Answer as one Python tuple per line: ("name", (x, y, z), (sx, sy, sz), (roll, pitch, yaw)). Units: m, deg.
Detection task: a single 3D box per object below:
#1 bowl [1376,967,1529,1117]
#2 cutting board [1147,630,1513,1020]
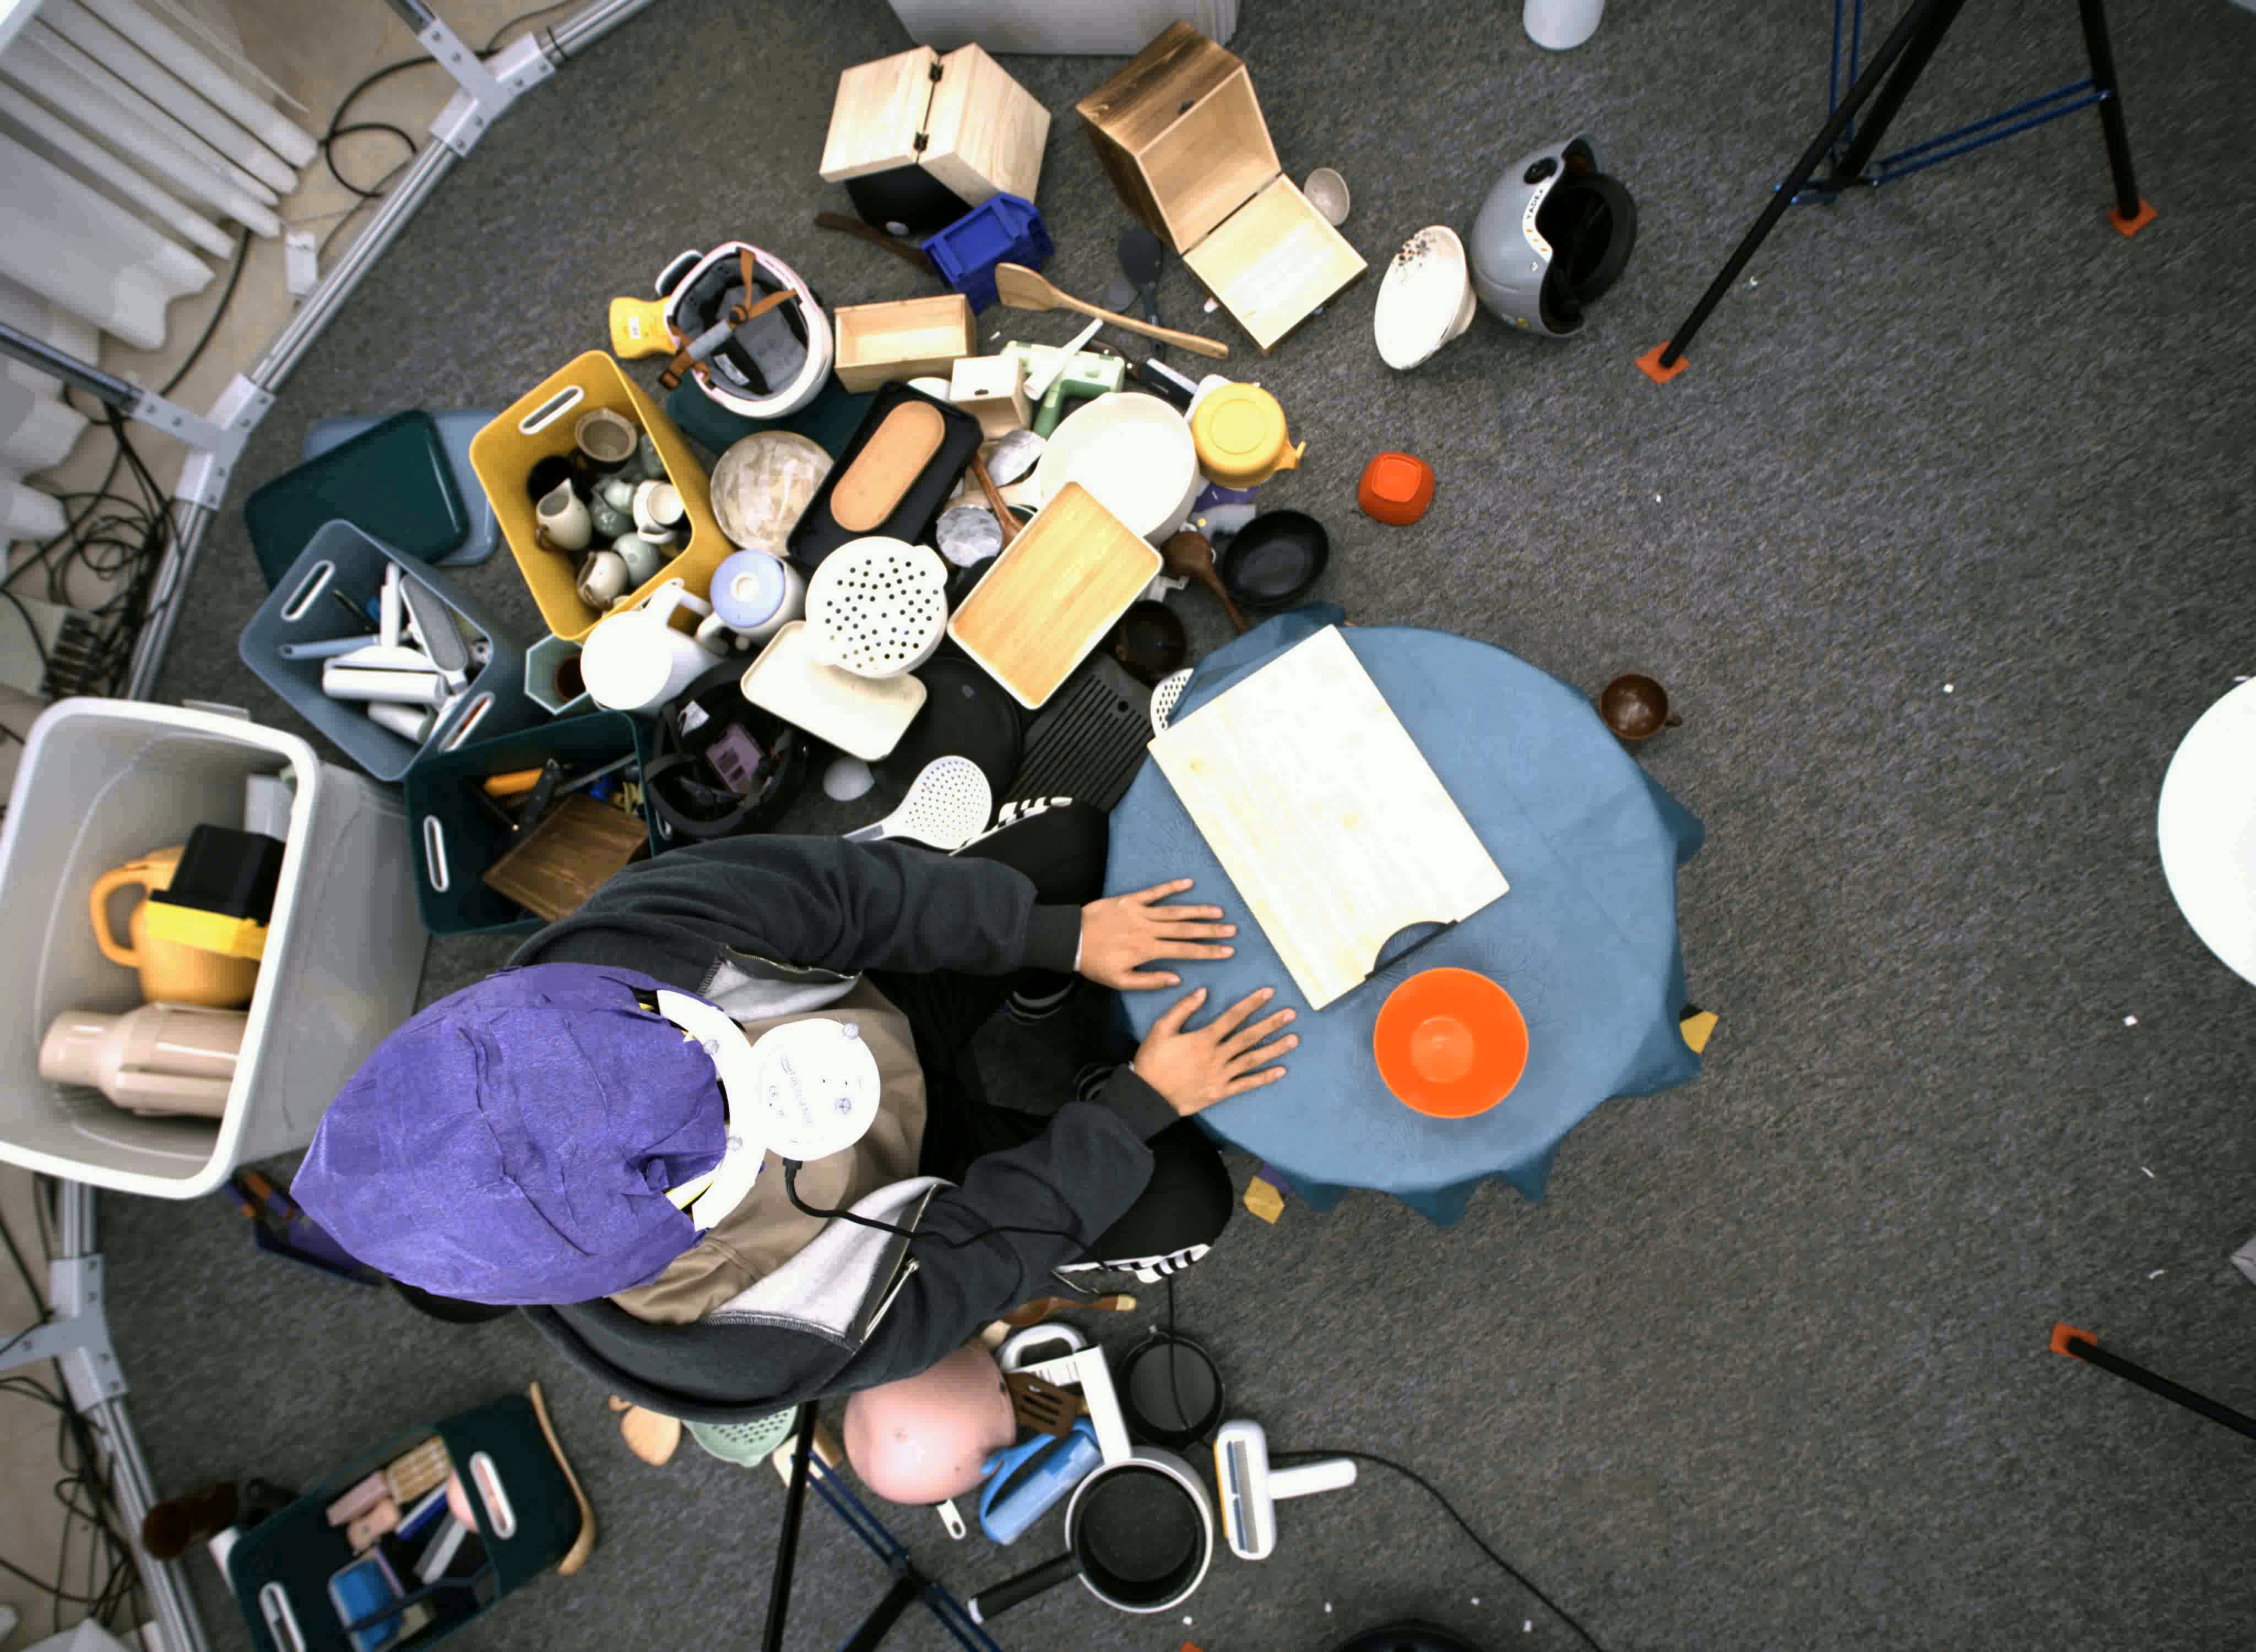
("bowl", (0.323, 0.215, 1.390), (0.148, 0.105, 0.147), (-1, 86, 8))
("cutting board", (0.211, -0.007, 1.467), (0.252, 0.023, 0.346), (-34, 81, 8))
